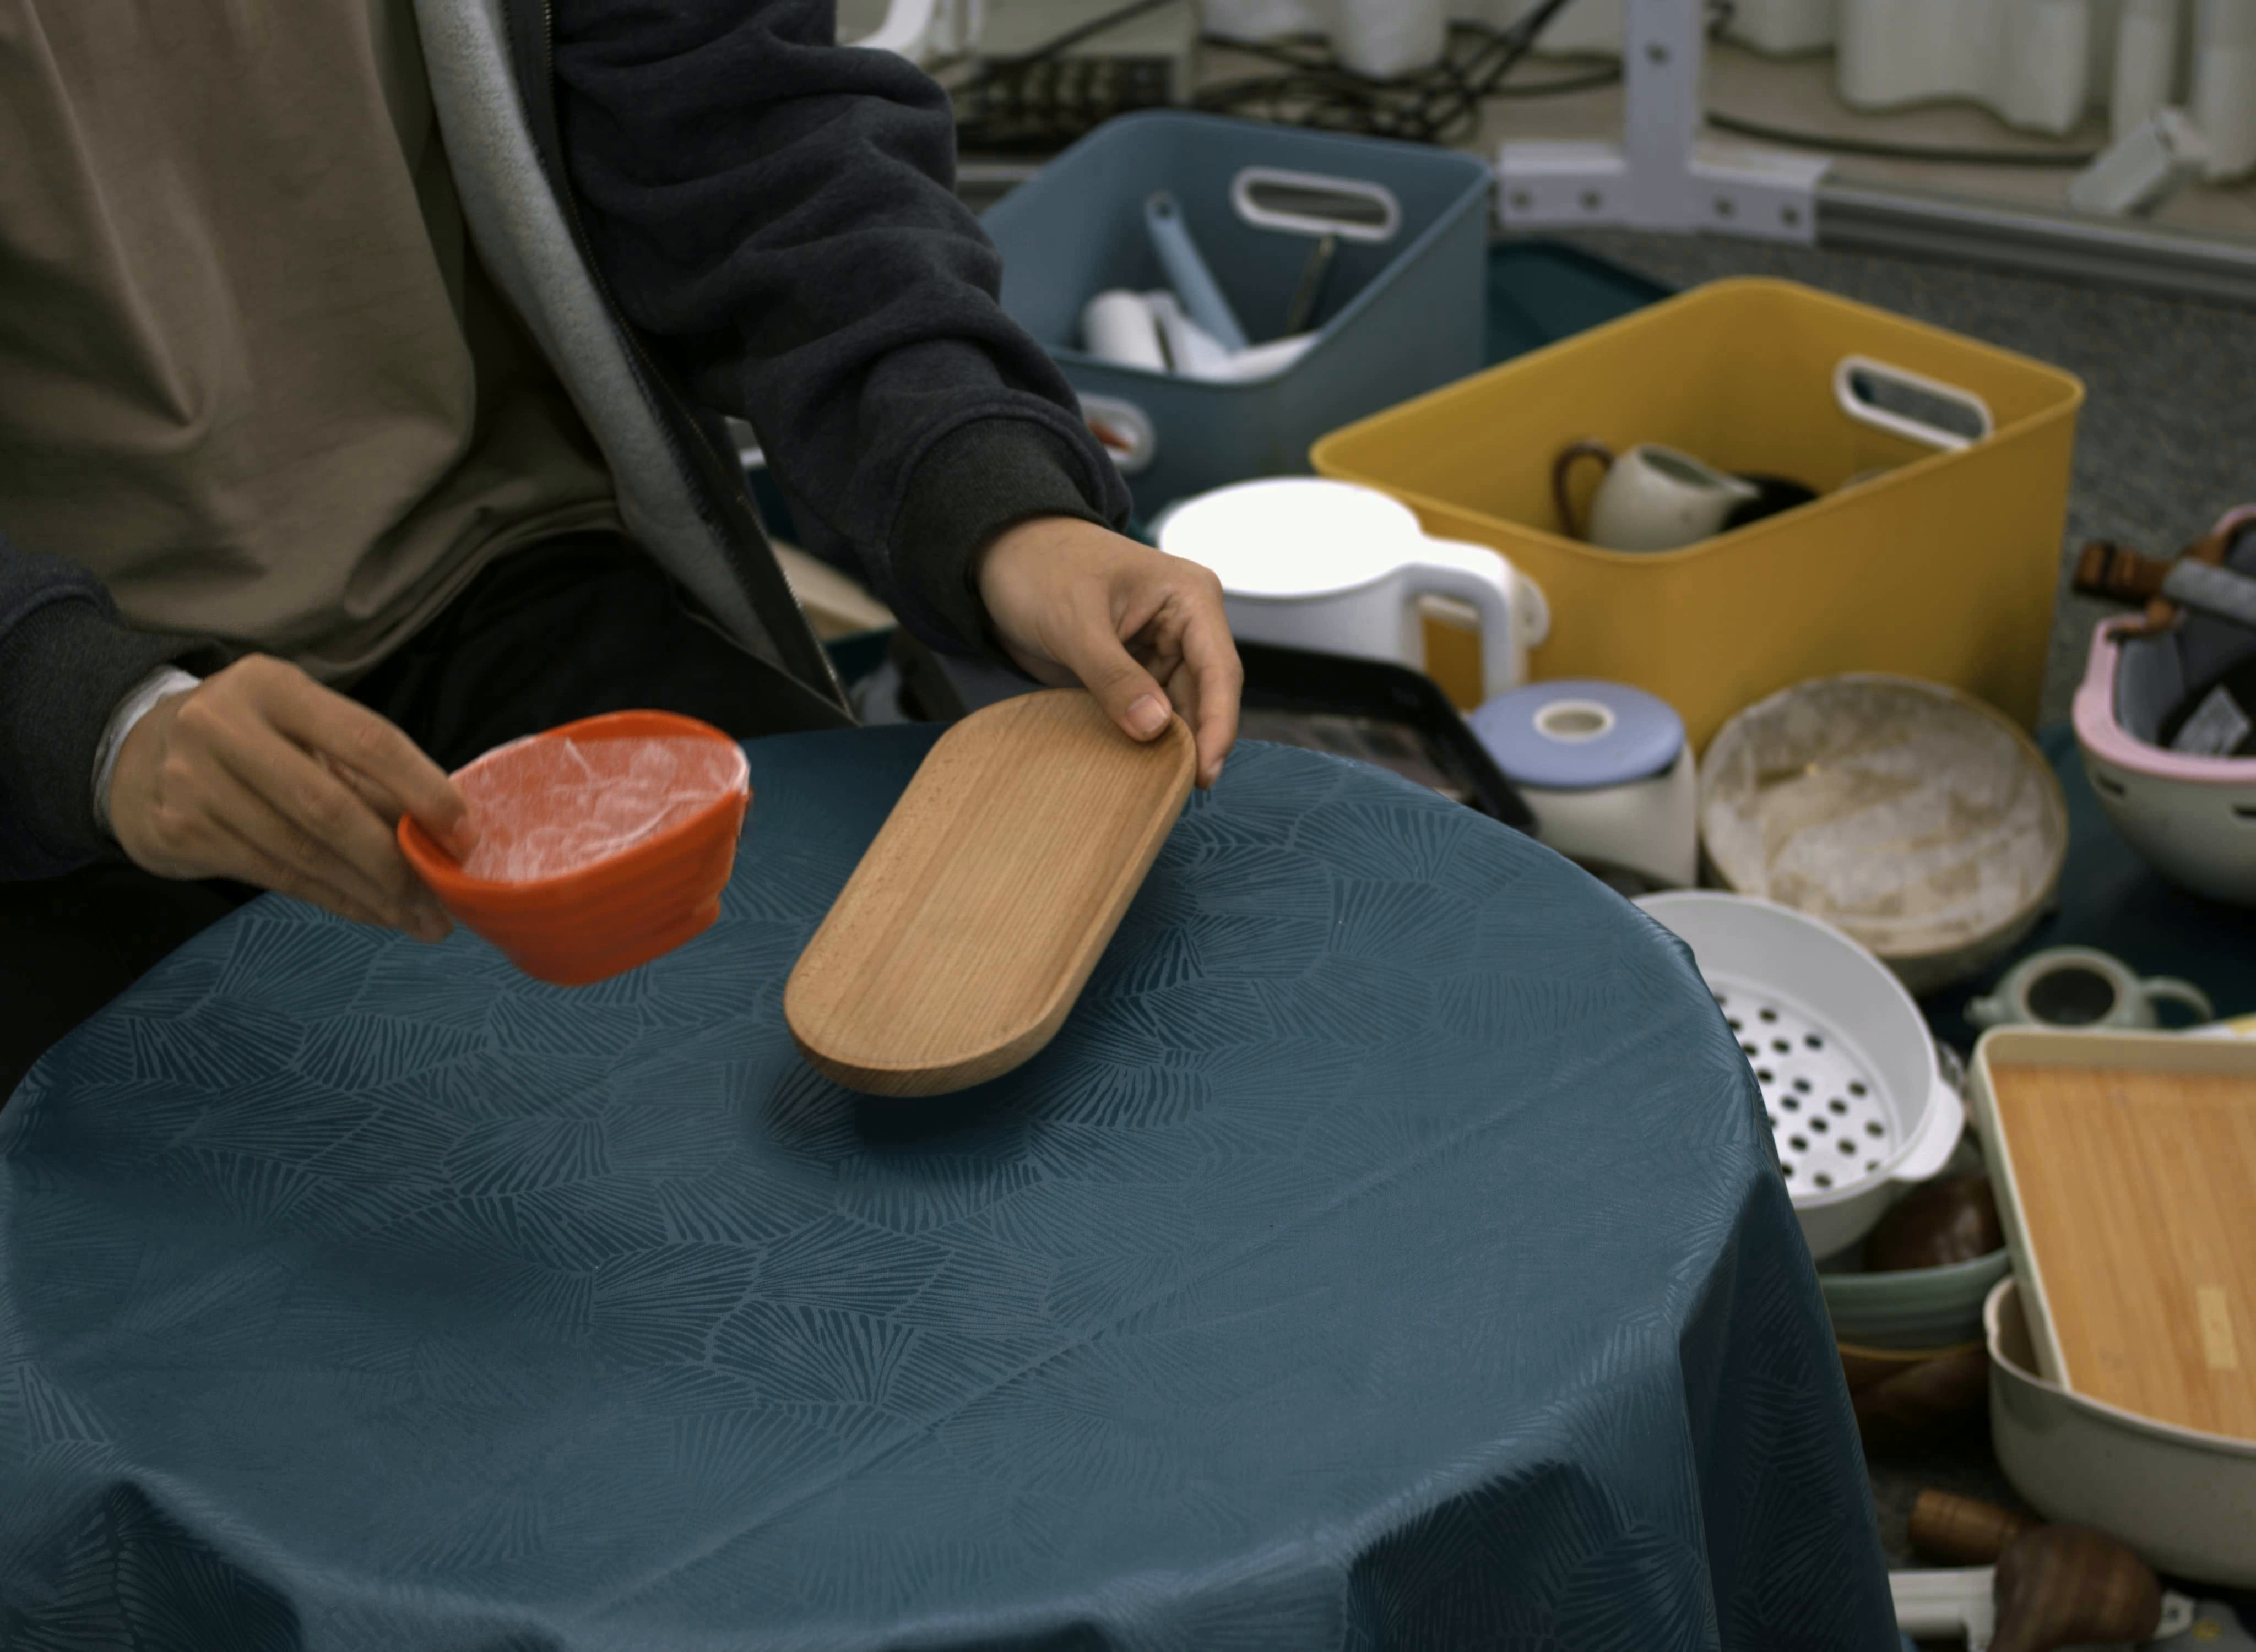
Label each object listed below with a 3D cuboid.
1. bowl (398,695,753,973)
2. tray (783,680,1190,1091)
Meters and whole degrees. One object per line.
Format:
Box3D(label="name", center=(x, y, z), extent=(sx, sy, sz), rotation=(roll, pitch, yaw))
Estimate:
Box3D(label="bowl", center=(-0.173, 0.007, 1.815), extent=(0.118, 0.051, 0.120), rotation=(-11, 26, 6))
Box3D(label="tray", center=(-0.047, 0.019, 1.968), extent=(0.101, 0.020, 0.235), rotation=(5, 35, 18))
